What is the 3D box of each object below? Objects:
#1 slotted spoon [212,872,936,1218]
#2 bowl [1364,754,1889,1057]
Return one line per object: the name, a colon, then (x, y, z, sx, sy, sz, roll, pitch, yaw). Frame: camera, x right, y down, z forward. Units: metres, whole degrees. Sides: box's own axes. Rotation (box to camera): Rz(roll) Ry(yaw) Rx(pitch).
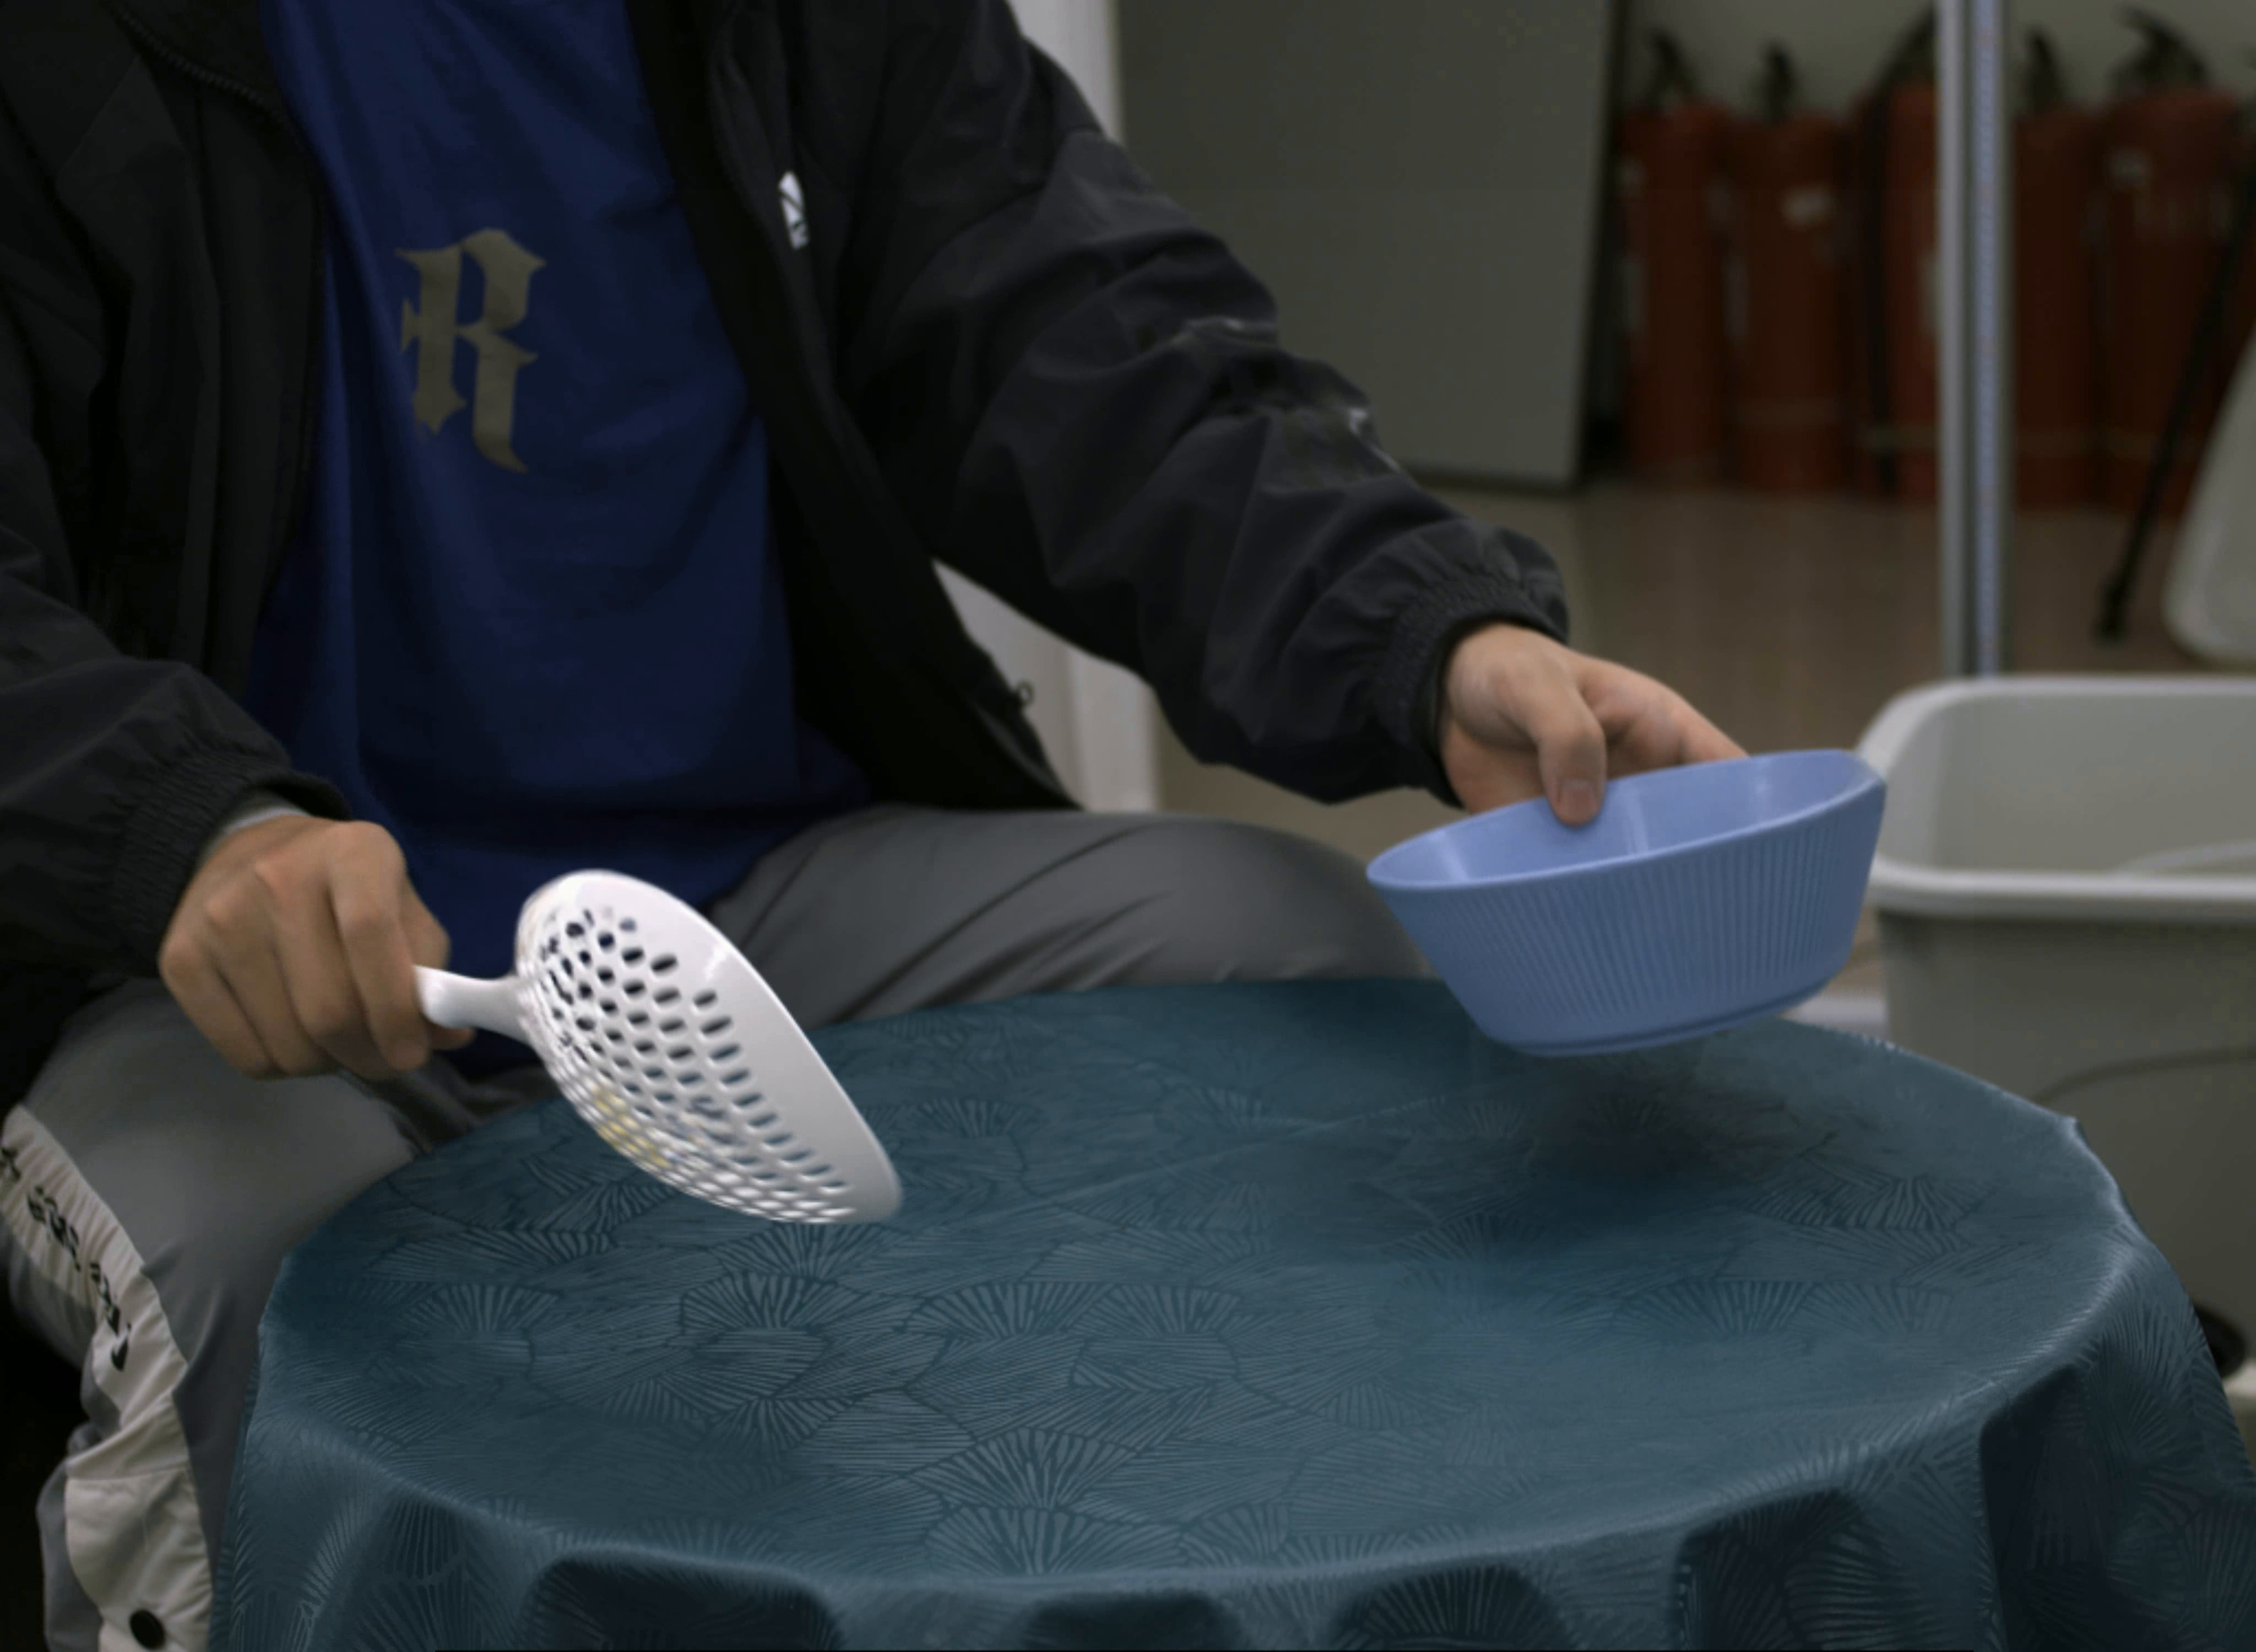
slotted spoon: (-0.182, 0.064, 1.634, 0.050, 0.136, 0.351, -48, 28, -19)
bowl: (0.168, 0.028, 1.748, 0.174, 0.071, 0.176, -13, 5, 0)
